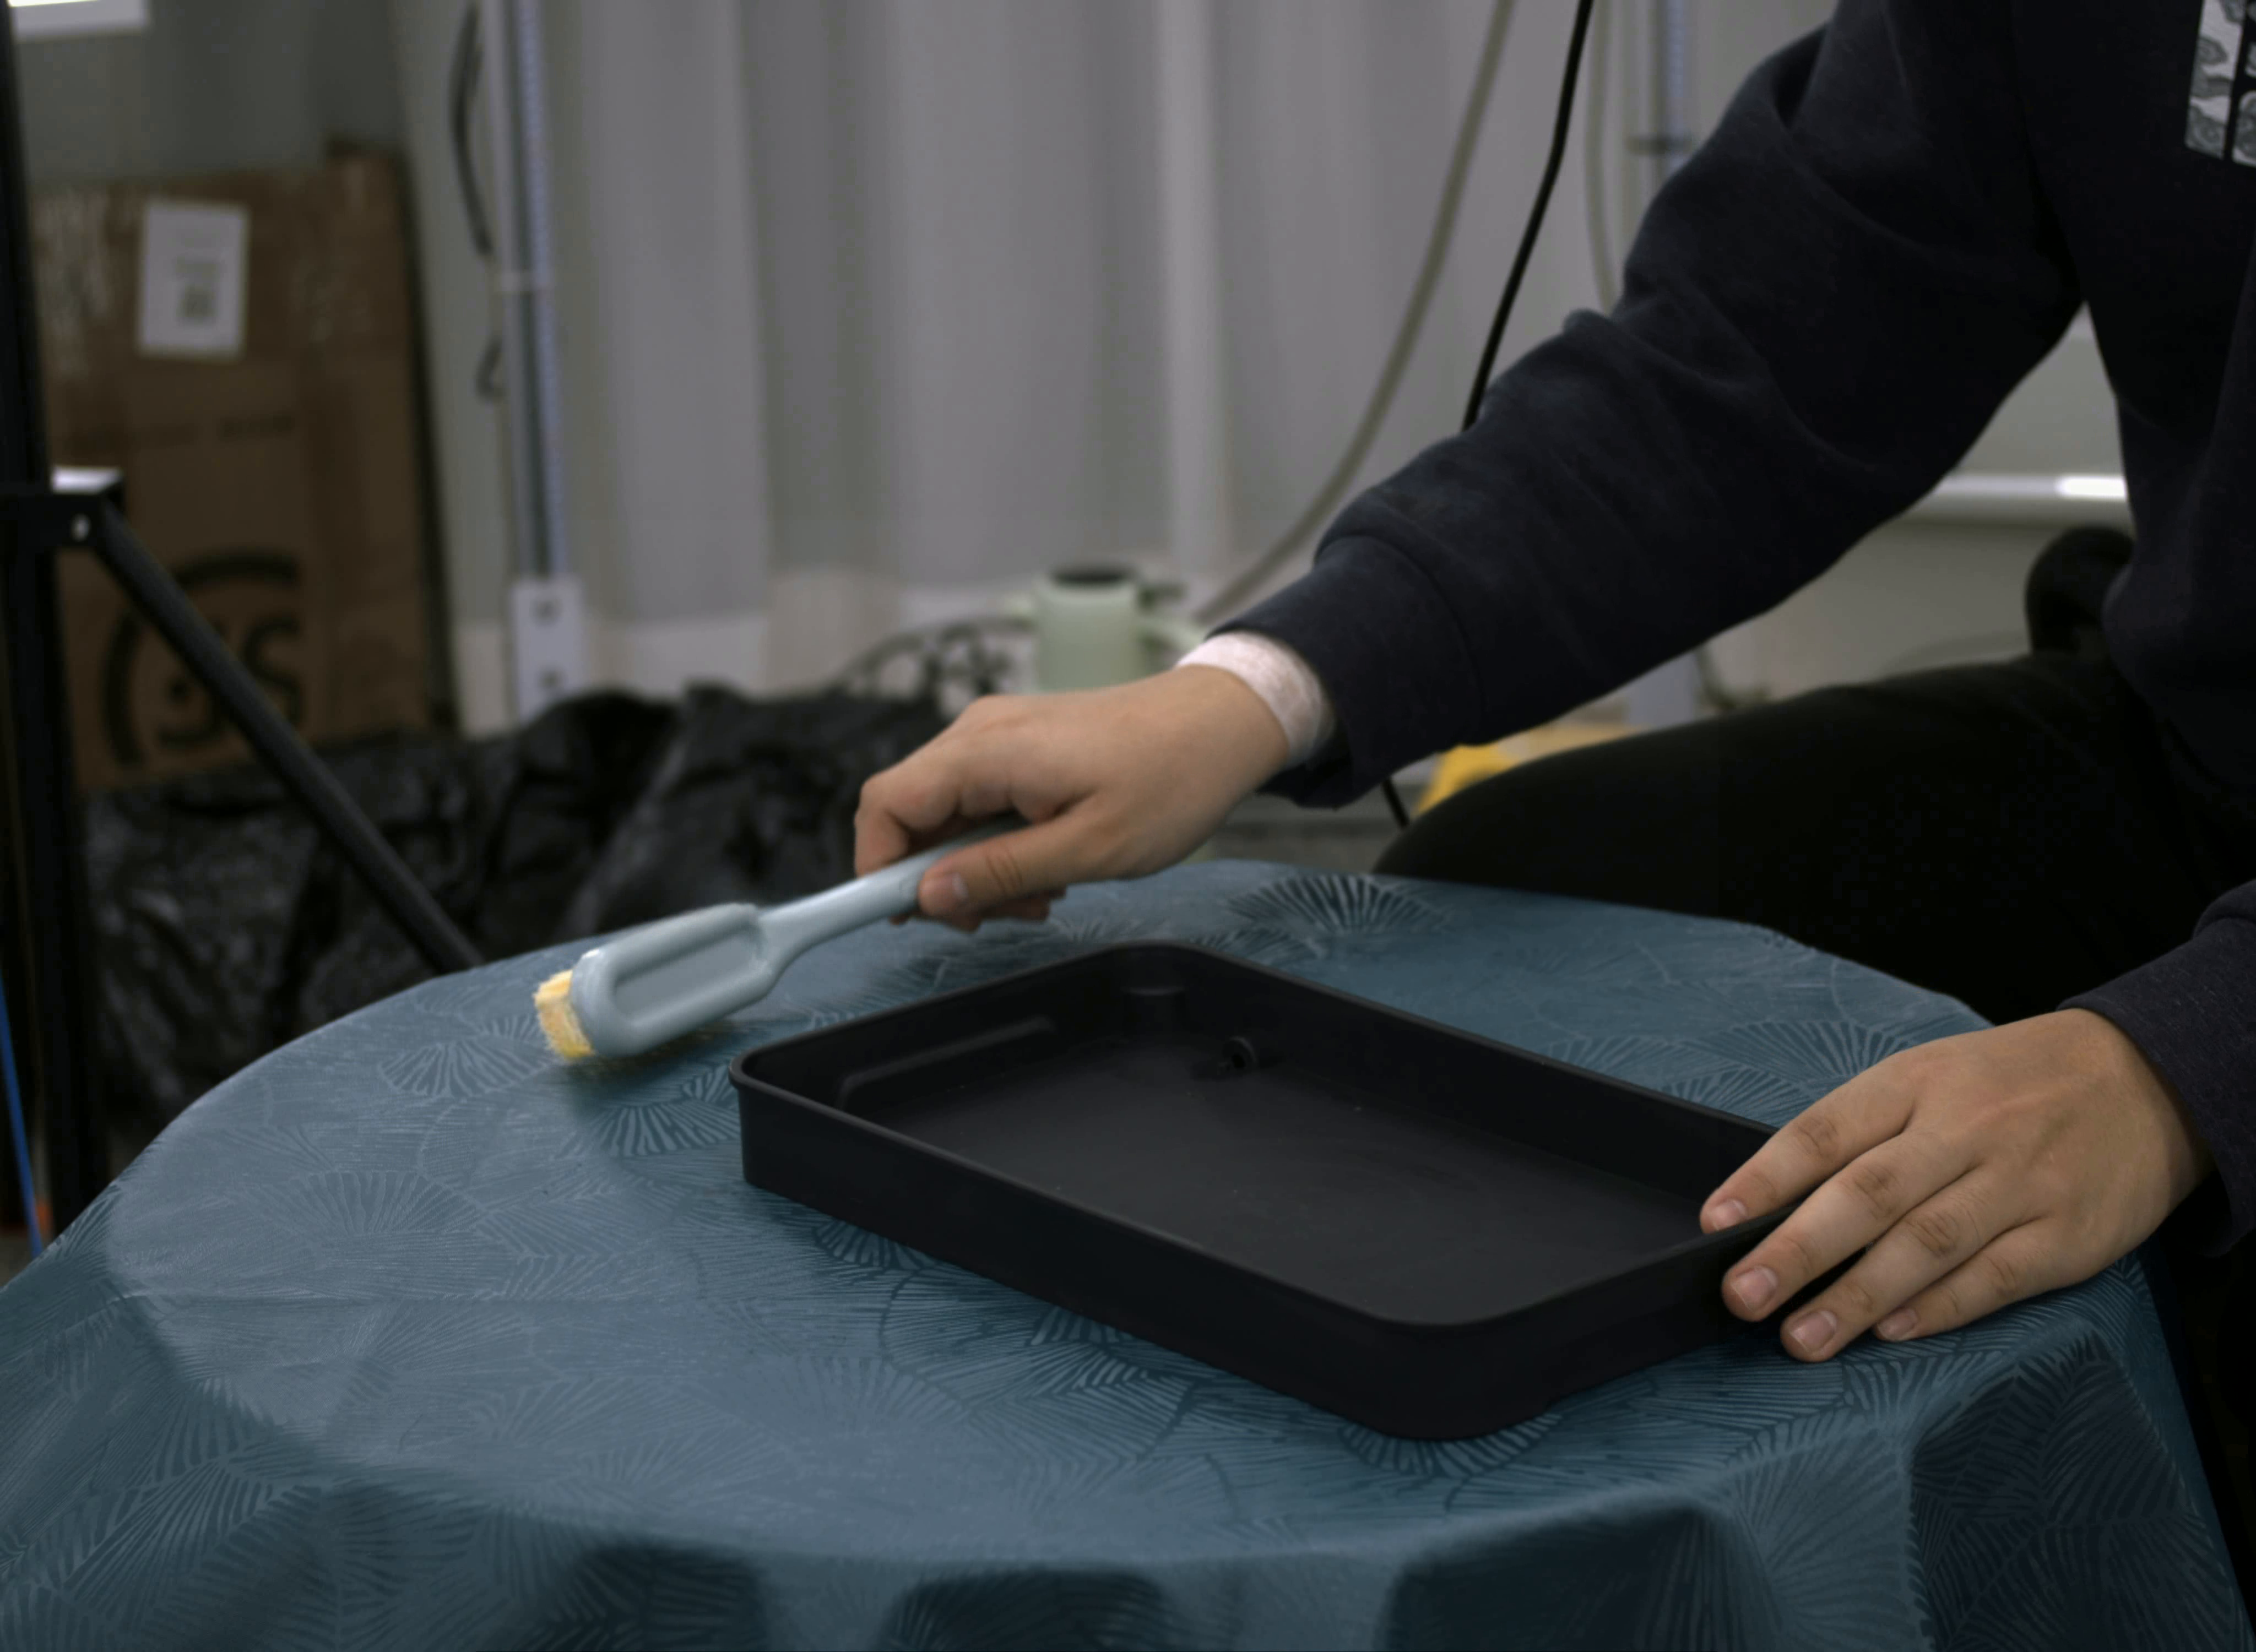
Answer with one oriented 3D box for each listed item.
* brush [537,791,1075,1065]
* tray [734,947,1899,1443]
[{"bbox_3d":[-0.102,0.030,1.750,0.224,0.038,0.050,-24,5,-39],"label":"brush"},{"bbox_3d":[0.048,0.099,1.515,0.180,0.037,0.325,-15,20,-39],"label":"tray"}]
